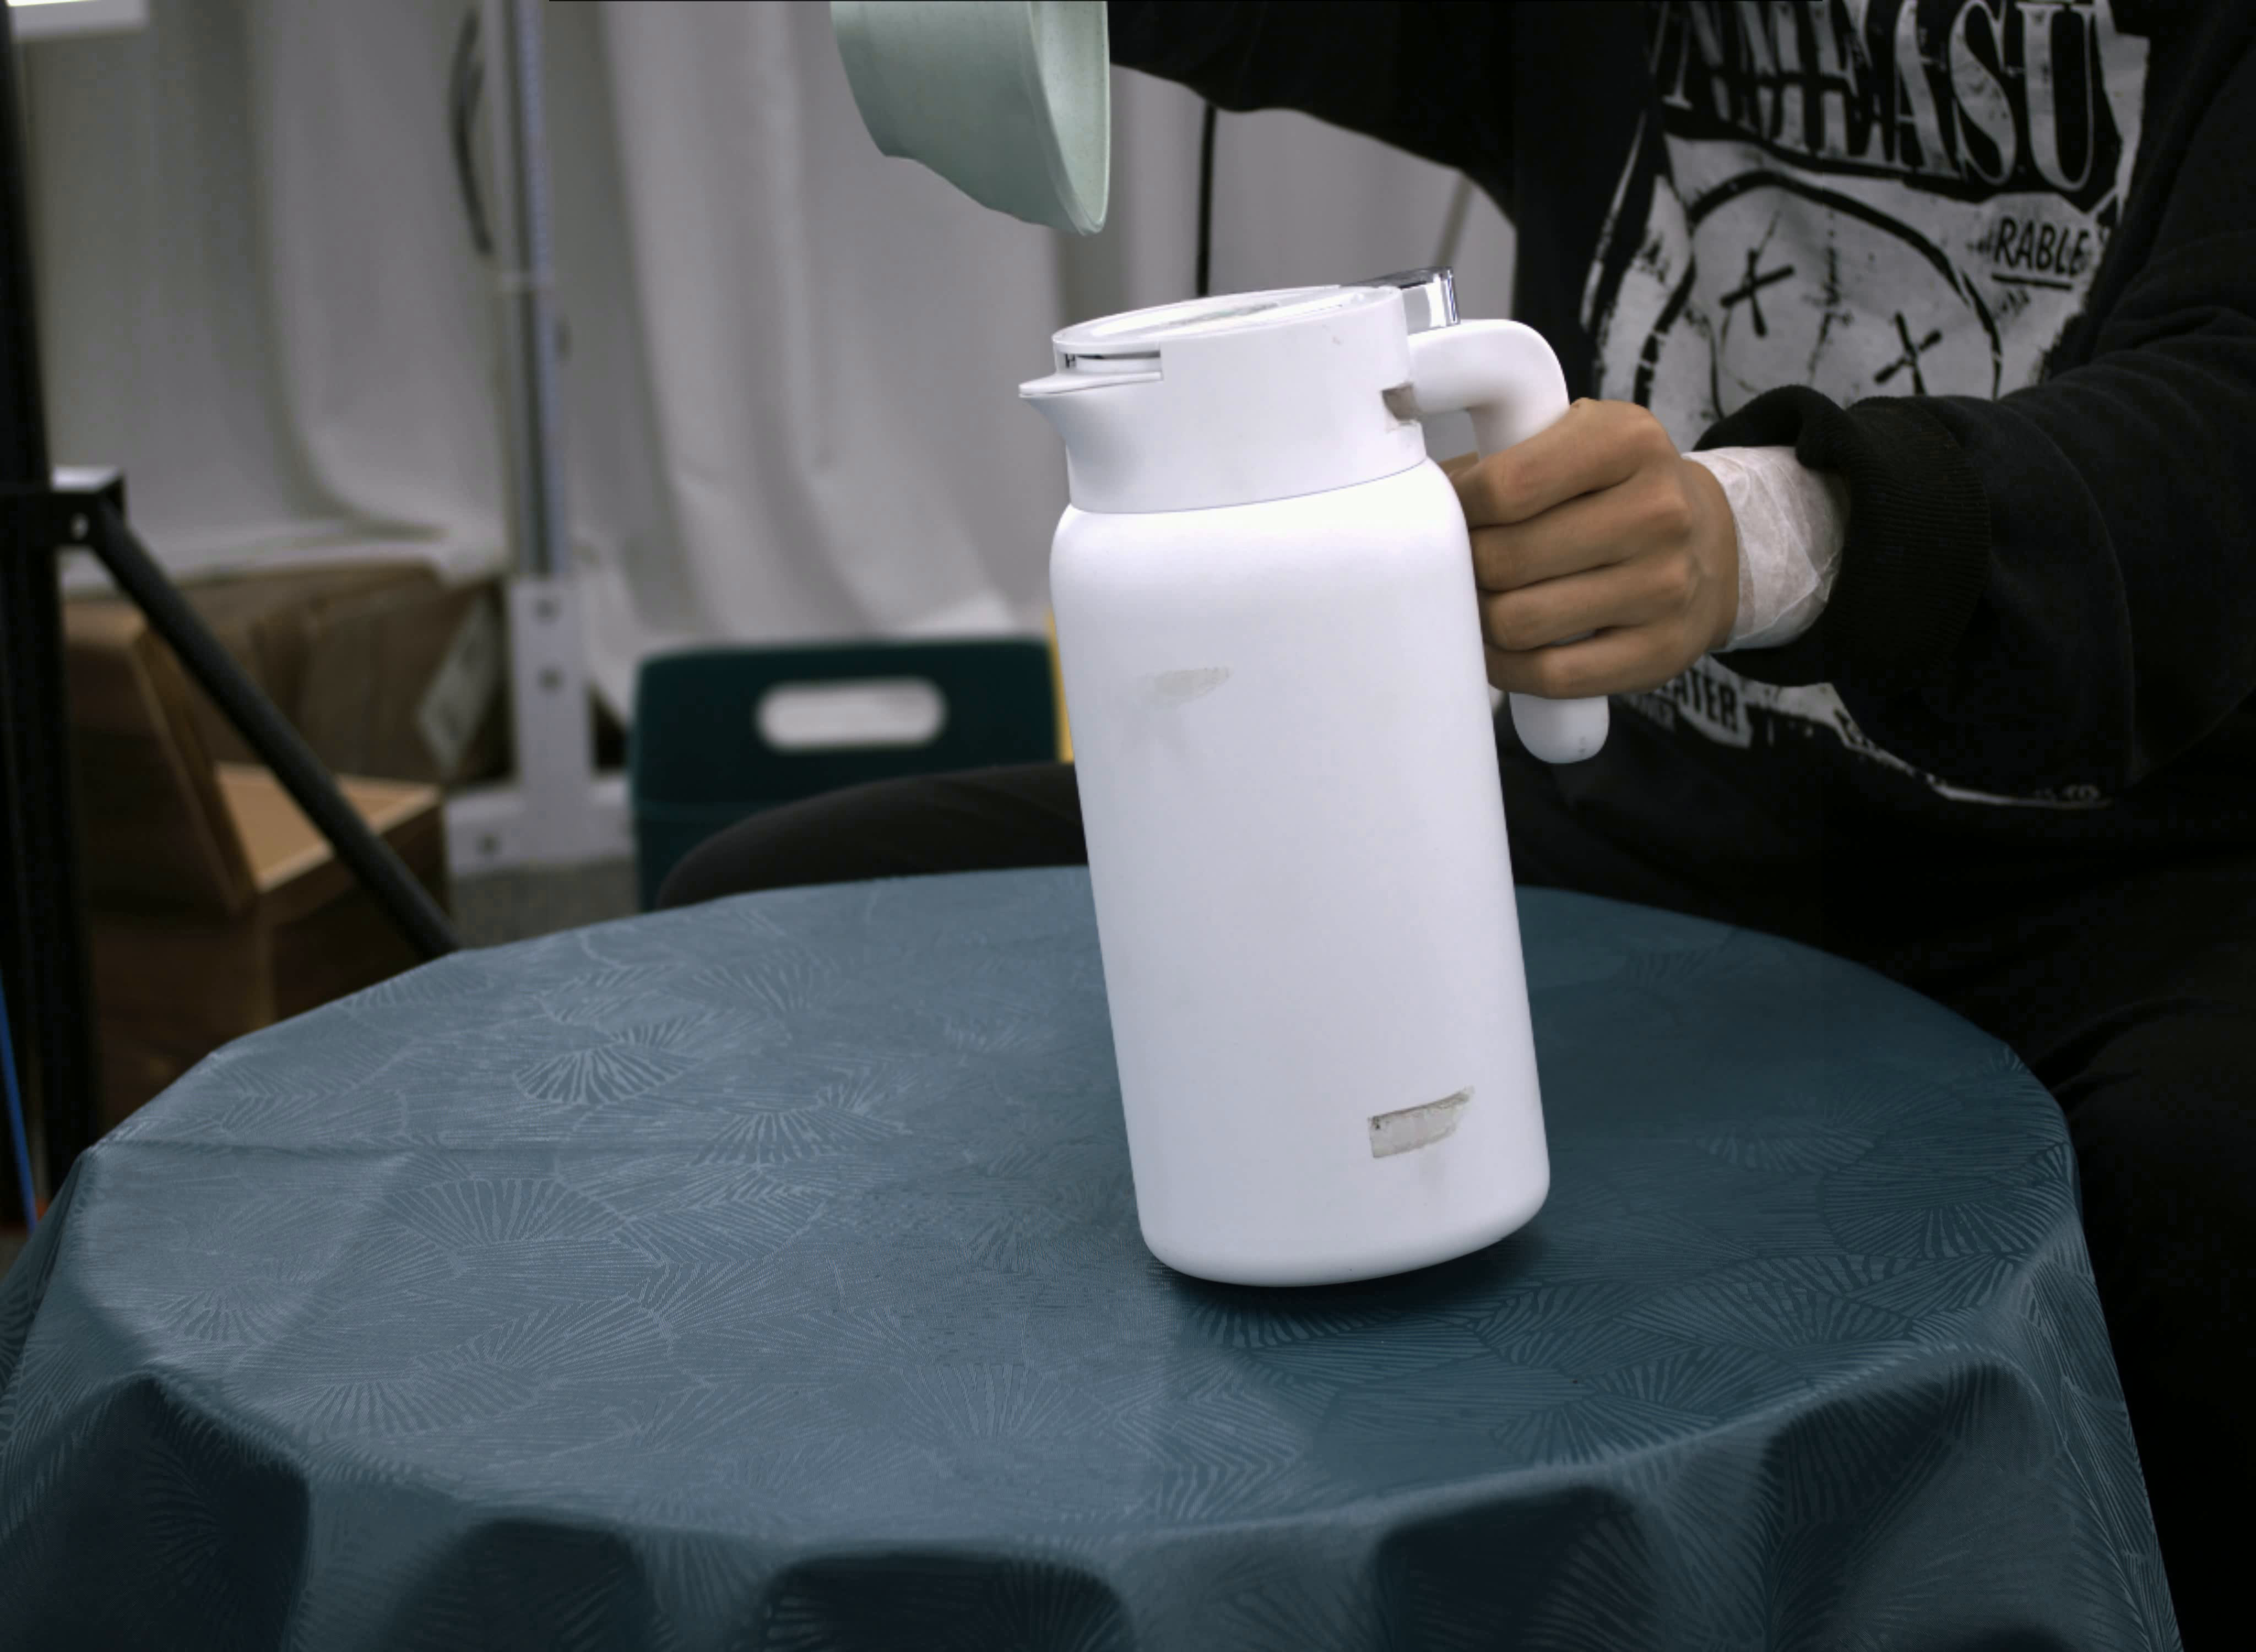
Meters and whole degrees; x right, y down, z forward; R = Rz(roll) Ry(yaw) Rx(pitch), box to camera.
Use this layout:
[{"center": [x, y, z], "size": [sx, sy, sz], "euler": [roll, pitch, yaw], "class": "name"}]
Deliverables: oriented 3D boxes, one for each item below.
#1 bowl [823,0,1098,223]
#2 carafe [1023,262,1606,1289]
[{"center": [-0.047, -0.235, 1.442], "size": [0.059, 0.151, 0.151], "euler": [-5, 15, 8], "class": "bowl"}, {"center": [0.059, -0.017, 1.482], "size": [0.169, 0.269, 0.126], "euler": [-14, 10, -32], "class": "carafe"}]
